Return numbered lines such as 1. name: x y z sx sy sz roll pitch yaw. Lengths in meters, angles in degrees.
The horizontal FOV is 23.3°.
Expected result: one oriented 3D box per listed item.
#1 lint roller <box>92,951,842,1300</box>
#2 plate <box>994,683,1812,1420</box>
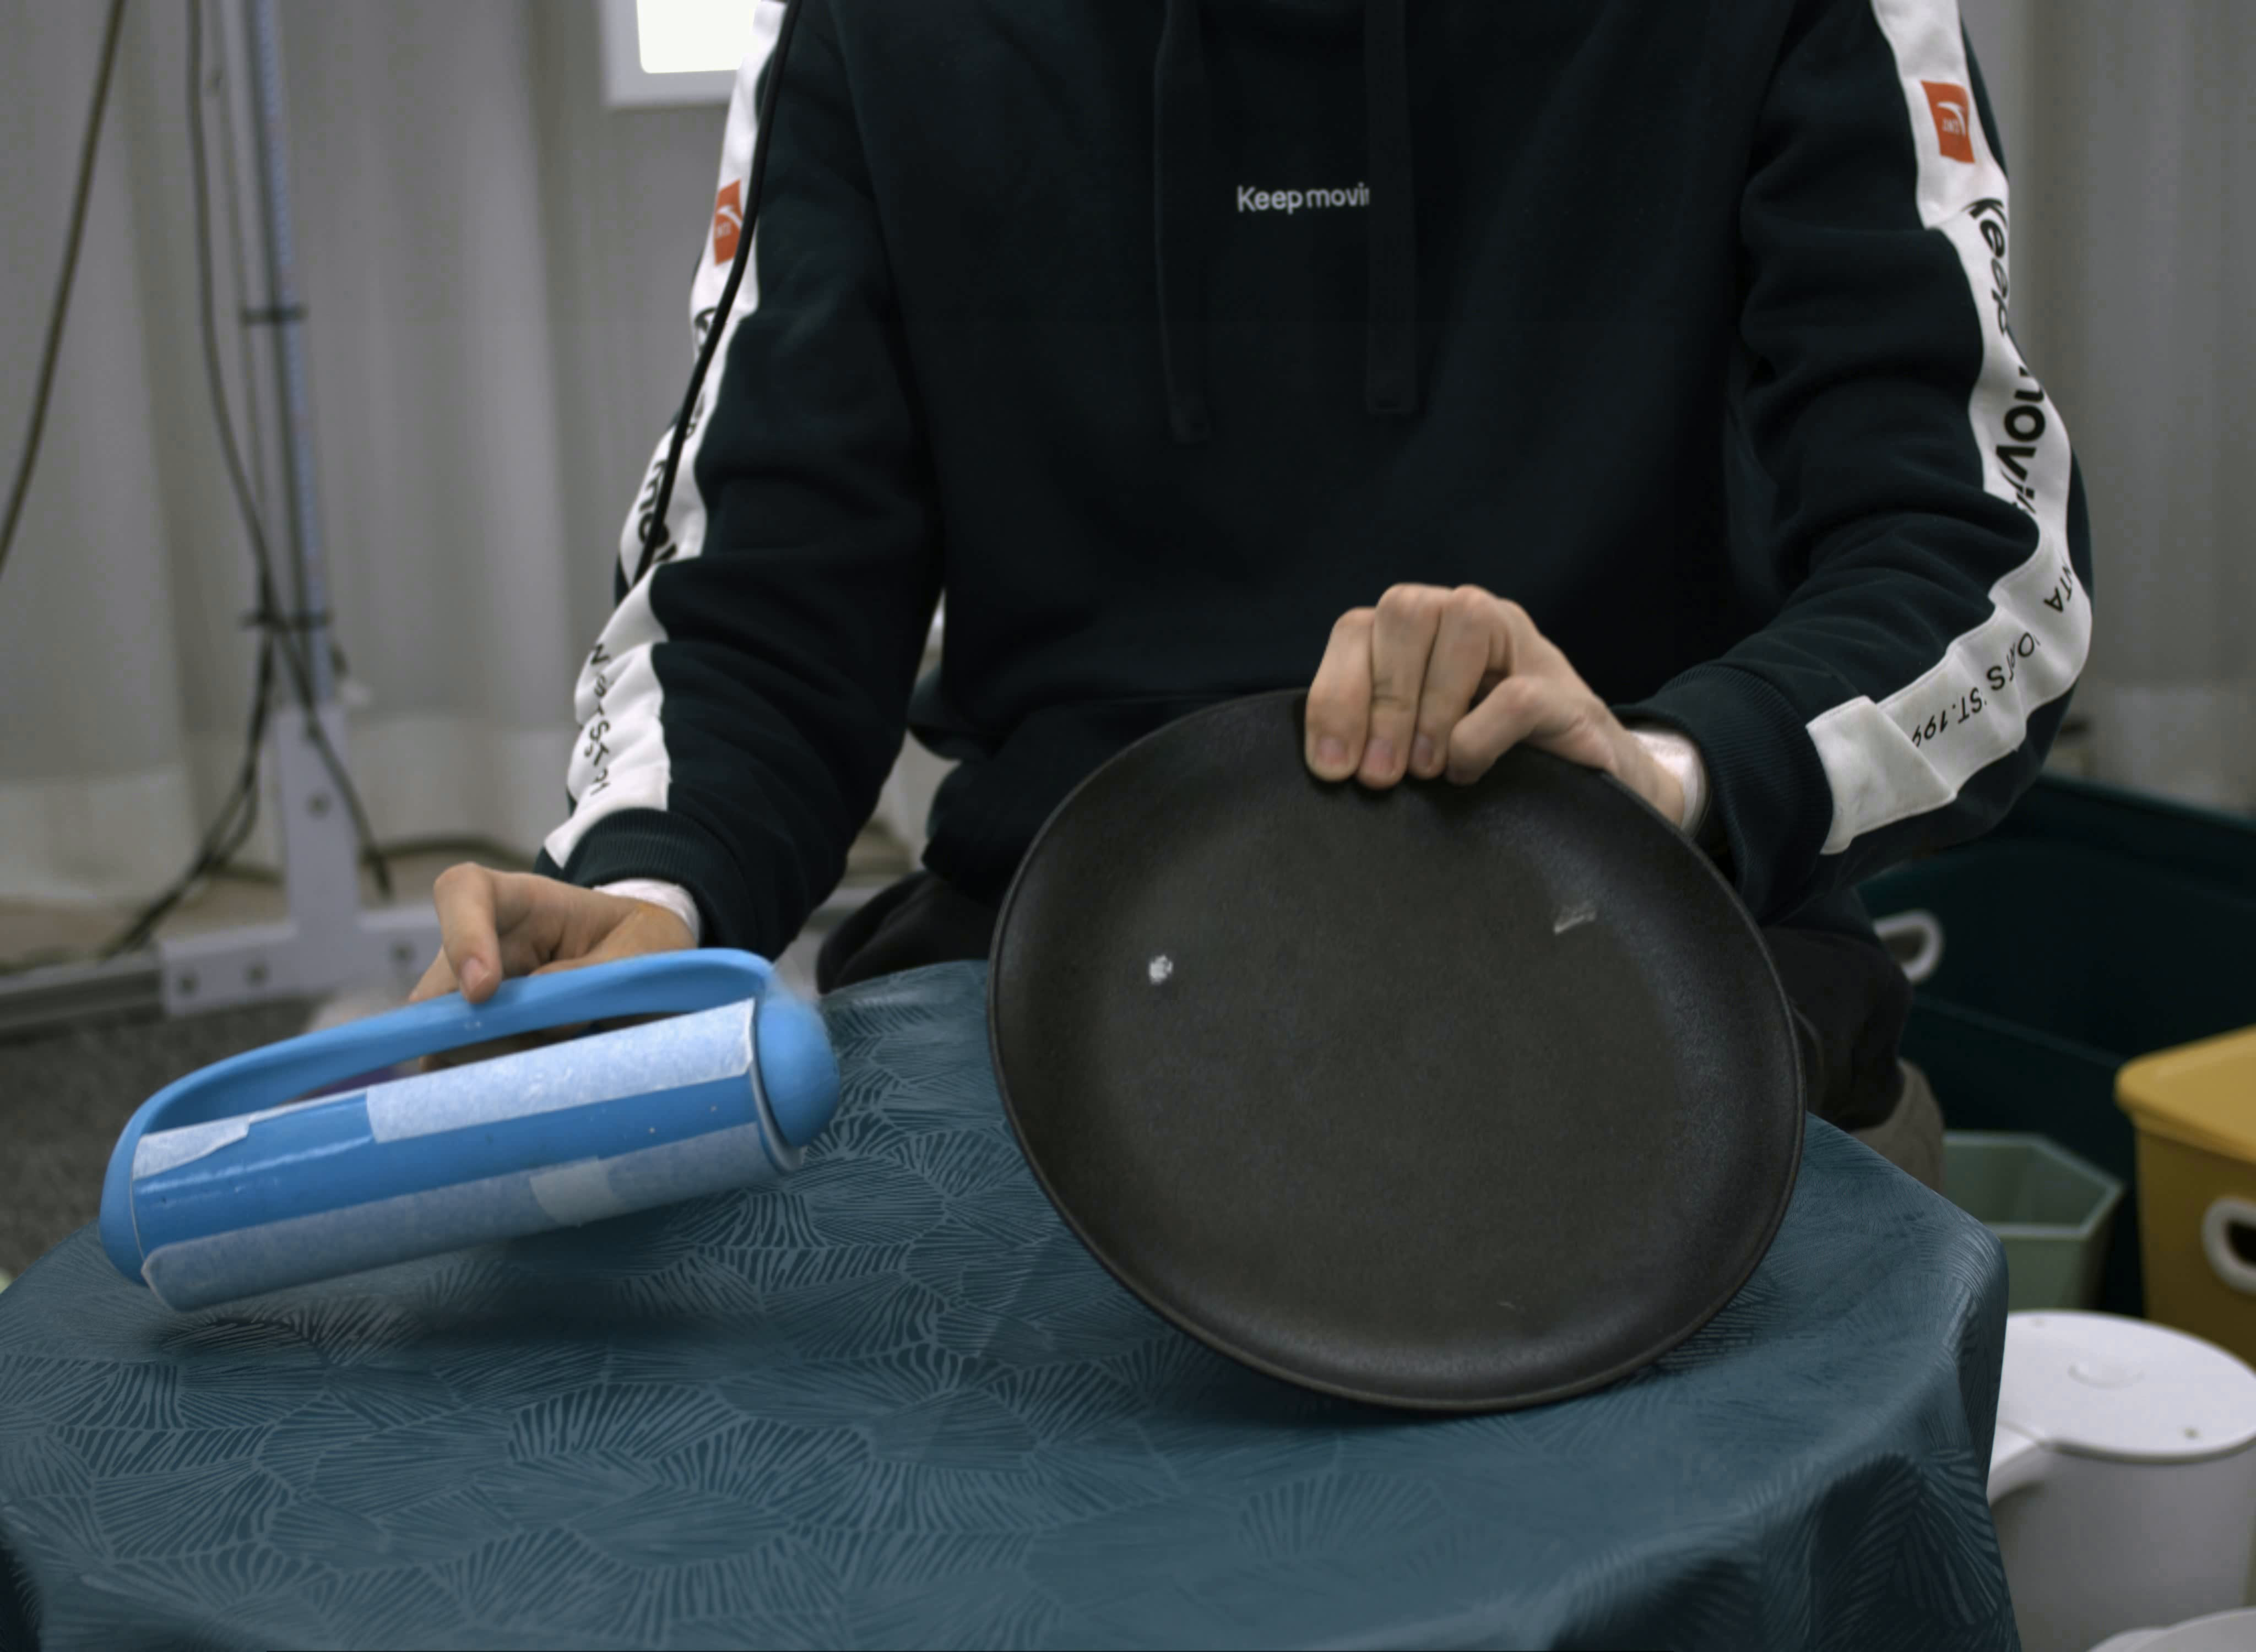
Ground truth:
1. lint roller: -0.192 0.080 1.666 0.228 0.068 0.181 -14 12 6
2. plate: 0.079 0.065 1.581 0.243 0.023 0.248 7 55 -10
